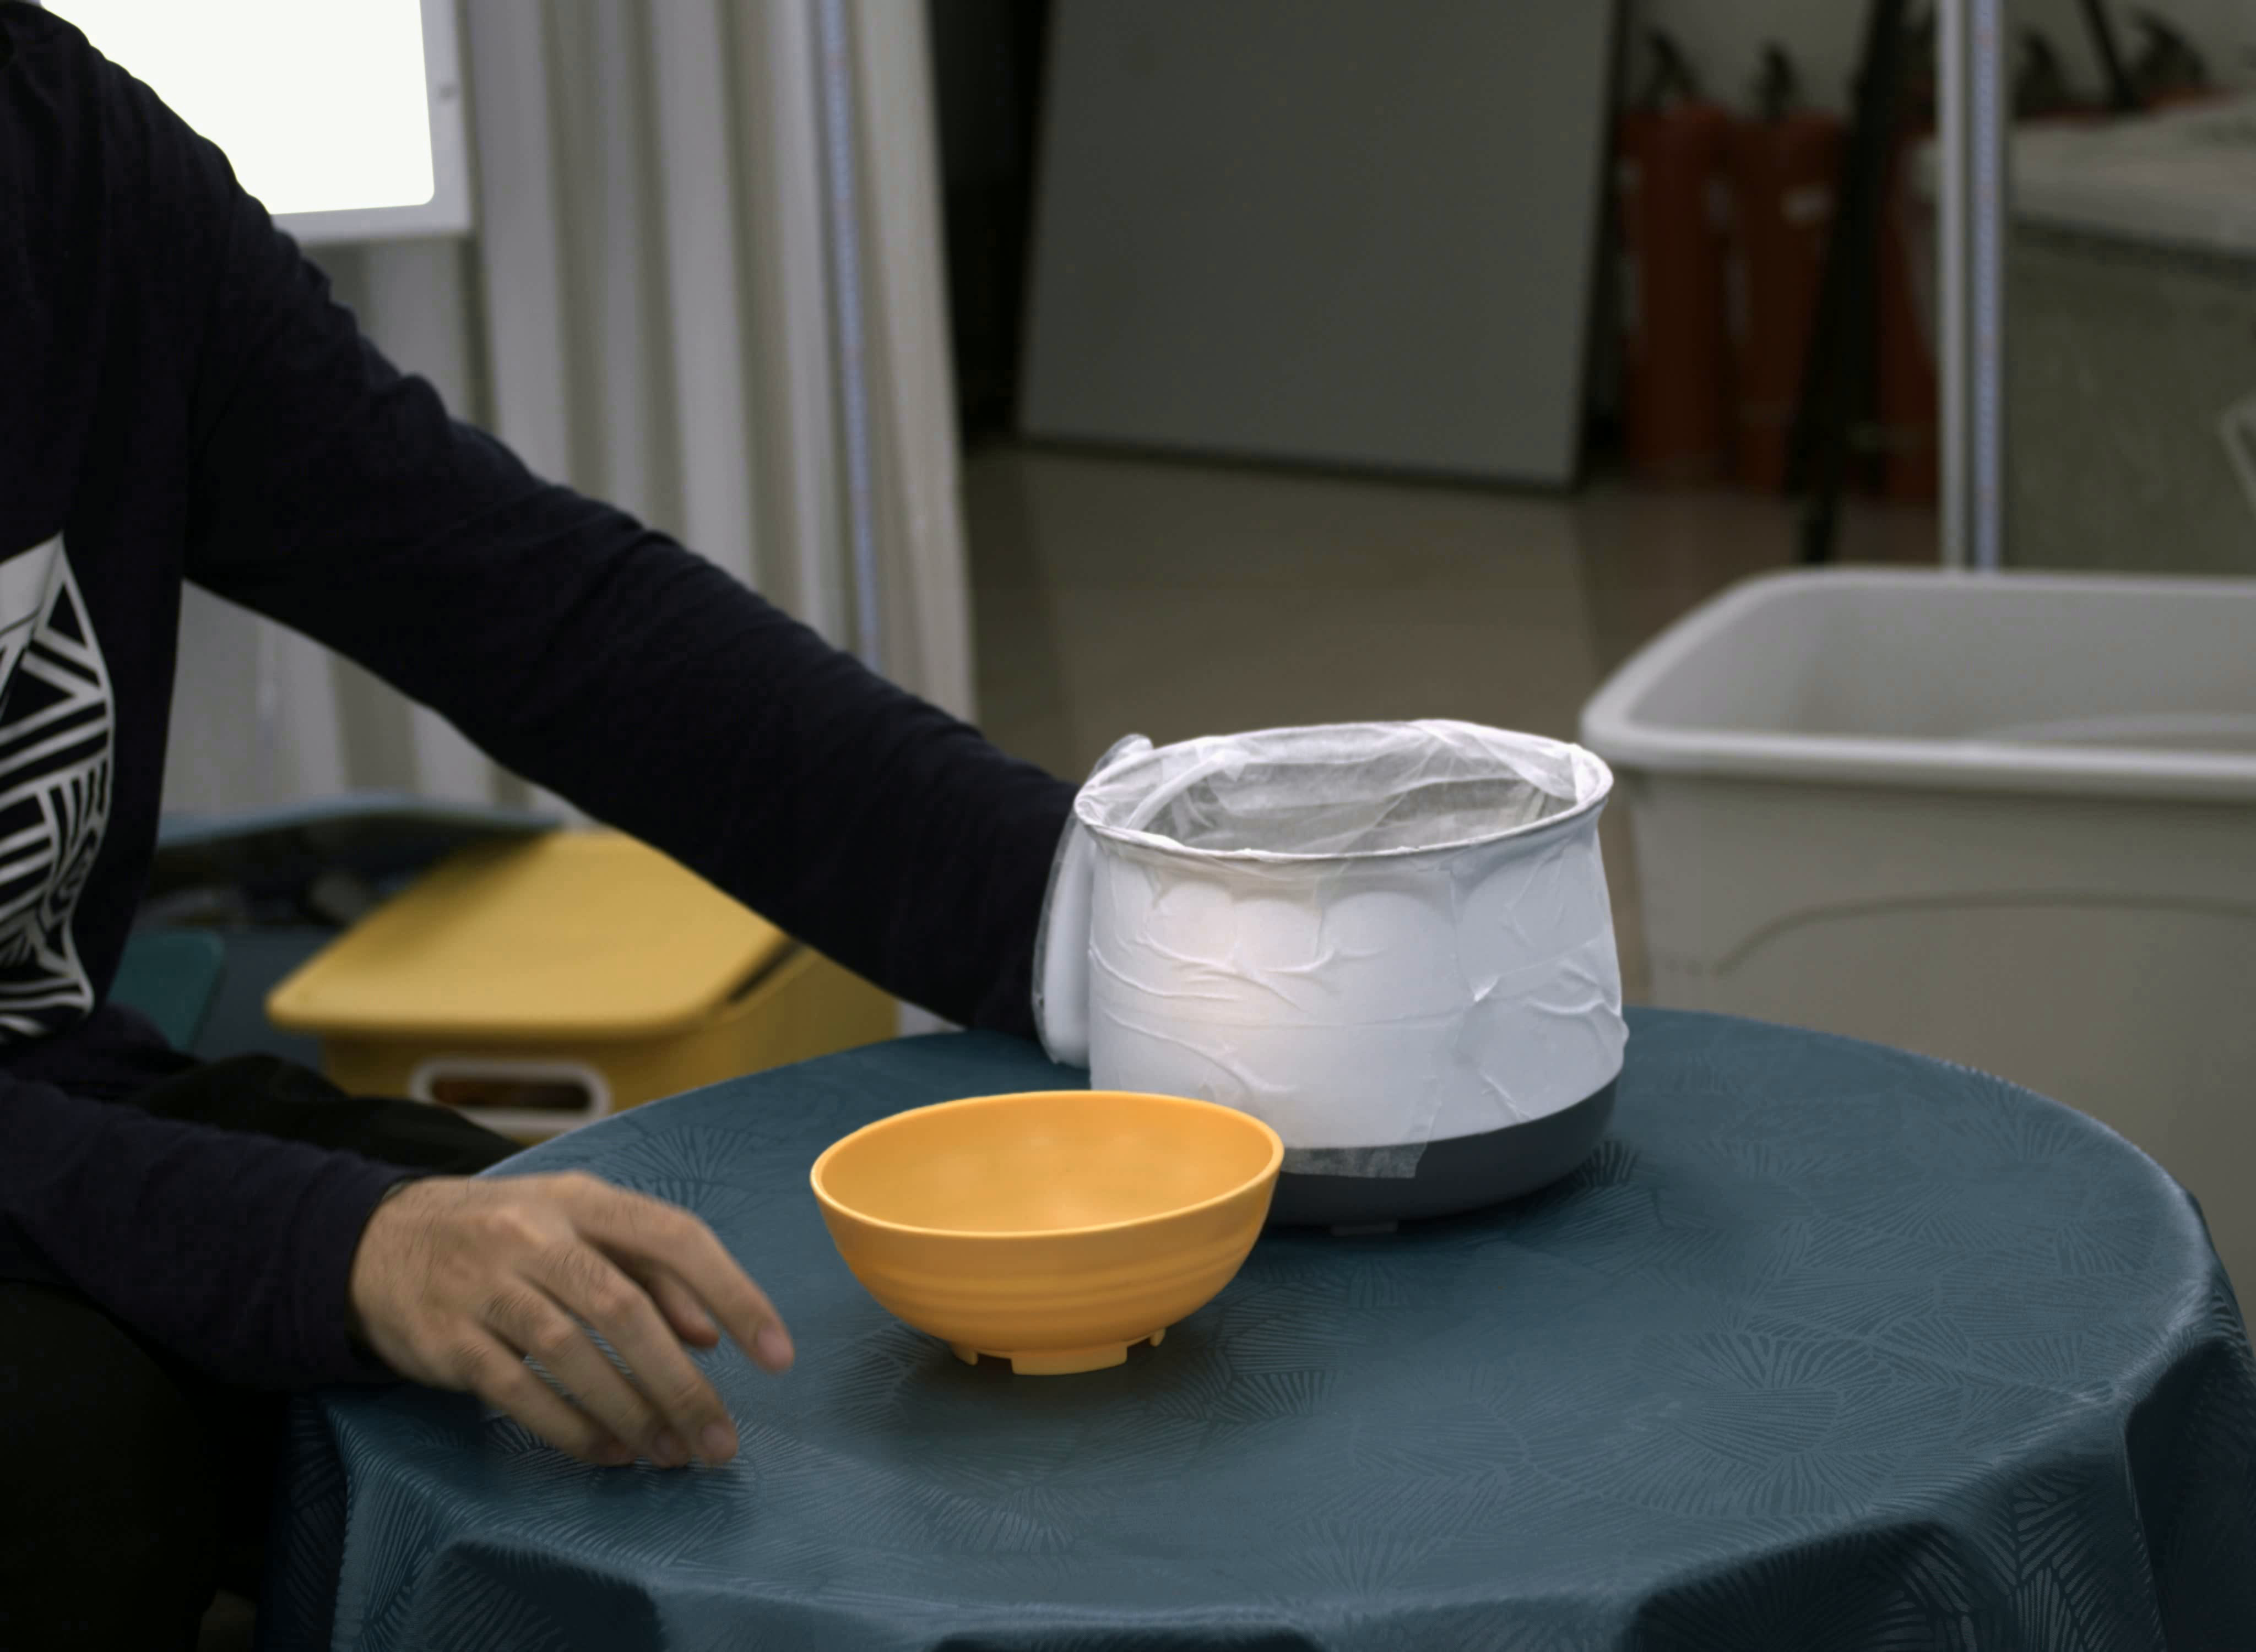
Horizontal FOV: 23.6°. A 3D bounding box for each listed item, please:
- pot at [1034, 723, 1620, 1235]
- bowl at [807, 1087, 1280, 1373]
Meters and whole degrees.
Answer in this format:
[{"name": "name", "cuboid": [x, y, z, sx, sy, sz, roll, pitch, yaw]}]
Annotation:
[{"name": "pot", "cuboid": [0.054, 0.044, 1.783, 0.175, 0.138, 0.236, -13, 16, -43]}, {"name": "bowl", "cuboid": [-0.025, 0.126, 1.628, 0.143, 0.061, 0.145, -2, 14, 0]}]
